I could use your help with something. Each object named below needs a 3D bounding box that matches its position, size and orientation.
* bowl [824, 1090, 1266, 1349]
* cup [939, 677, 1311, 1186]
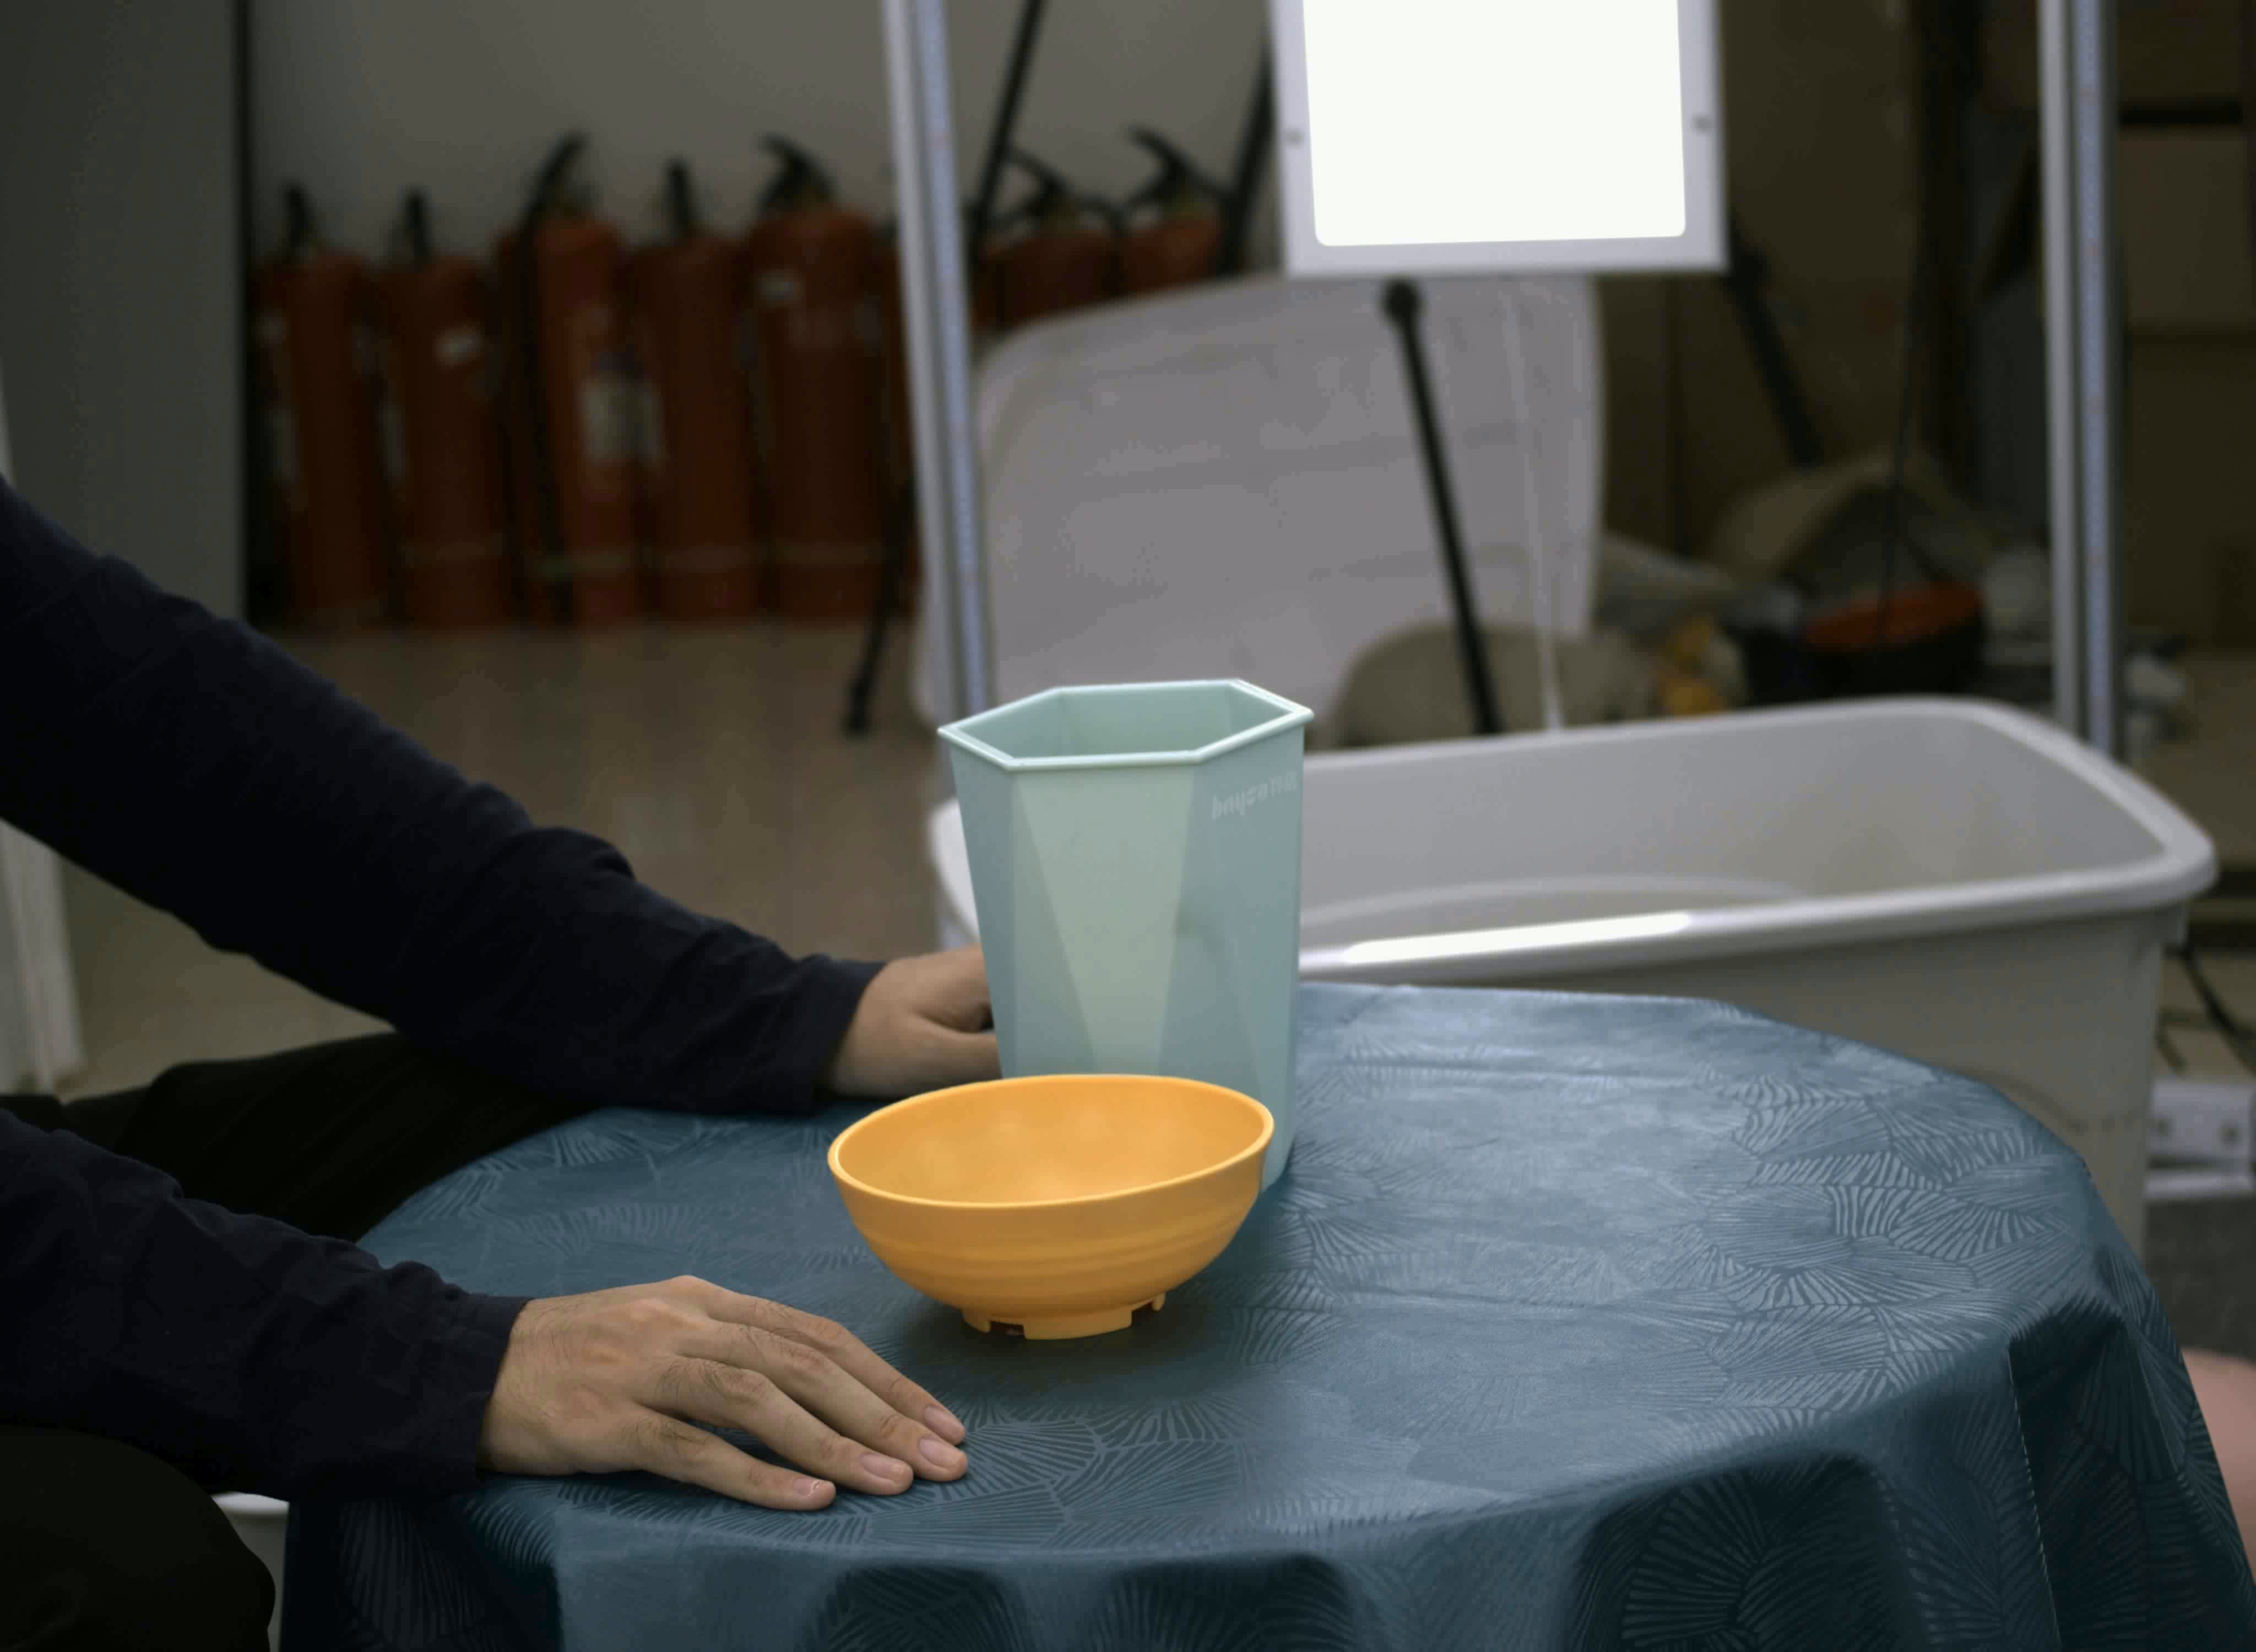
[{"bbox_3d":[-0.024,0.131,1.777,0.145,0.060,0.145,-7,11,0],"label":"bowl"},{"bbox_3d":[0.006,0.039,1.909,0.117,0.163,0.128,4,16,38],"label":"cup"}]
